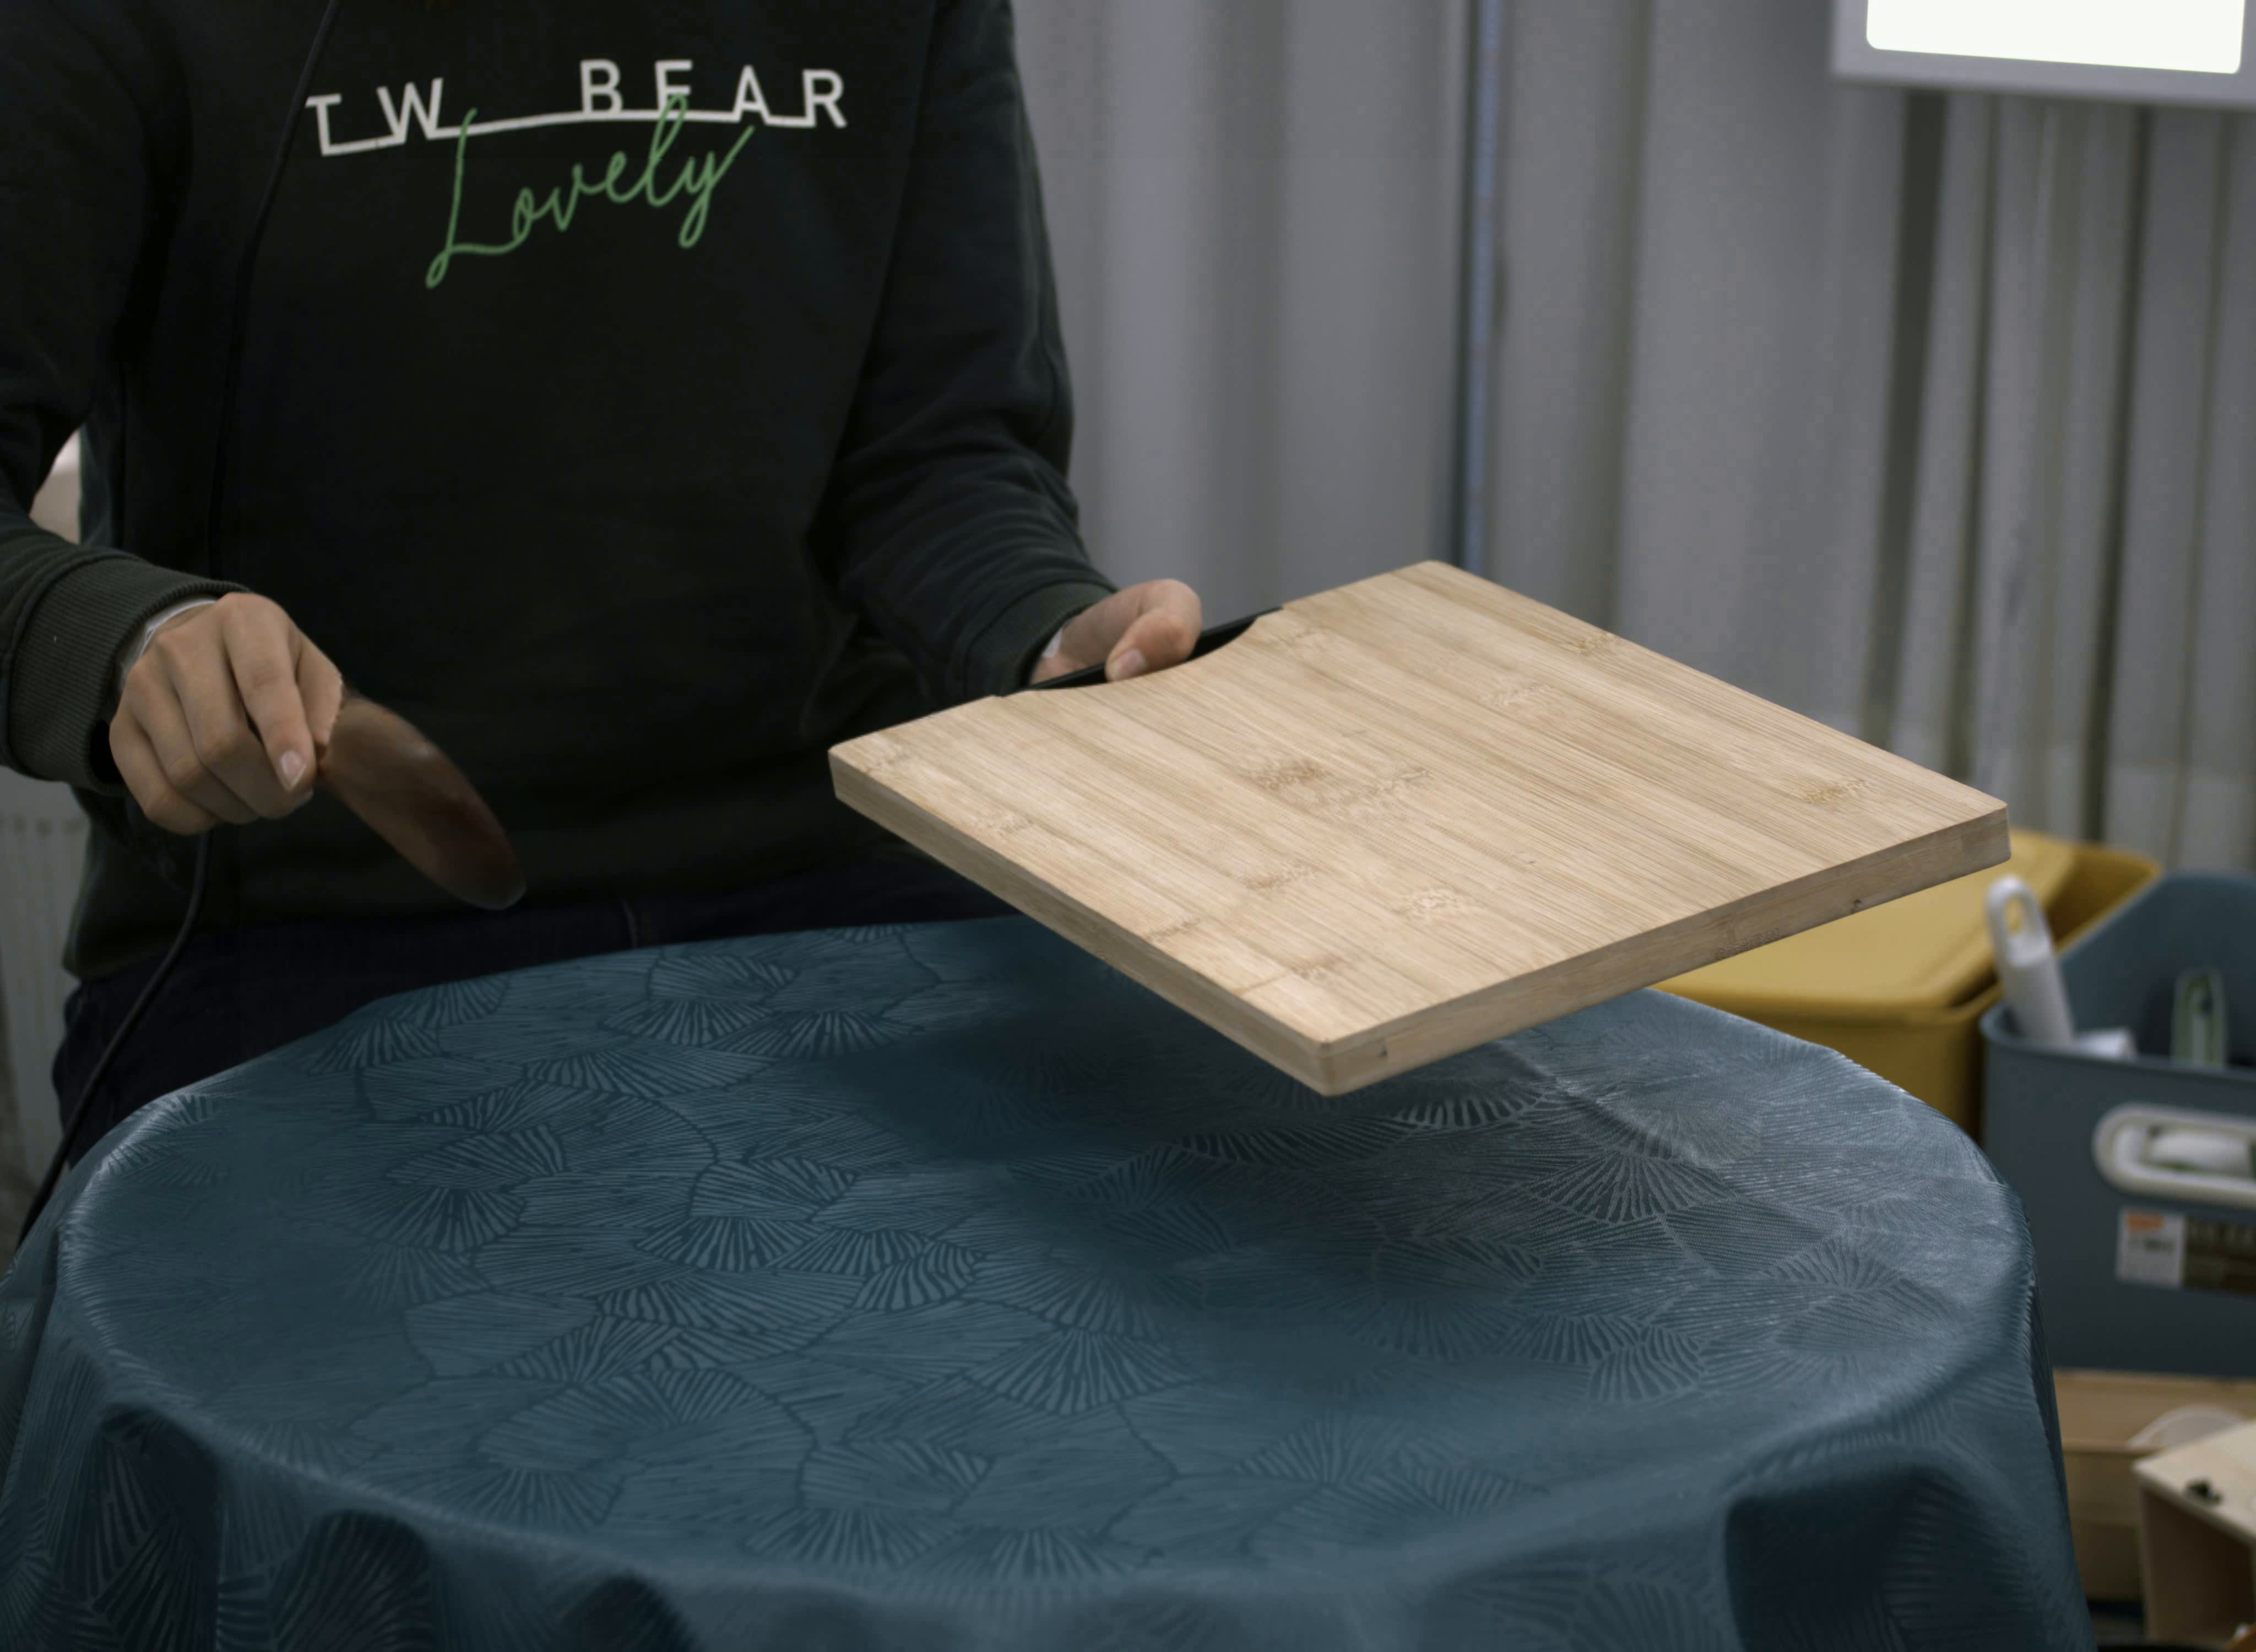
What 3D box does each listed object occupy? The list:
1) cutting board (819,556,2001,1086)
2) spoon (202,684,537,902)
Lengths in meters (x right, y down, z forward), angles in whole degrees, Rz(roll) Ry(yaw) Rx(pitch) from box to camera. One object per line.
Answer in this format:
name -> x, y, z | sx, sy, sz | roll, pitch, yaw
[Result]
cutting board -> 0.079, -0.009, 1.677 | 0.251, 0.024, 0.344 | -18, 23, -24
spoon -> -0.237, -0.016, 1.598 | 0.017, 0.076, 0.213 | -42, 28, -17
